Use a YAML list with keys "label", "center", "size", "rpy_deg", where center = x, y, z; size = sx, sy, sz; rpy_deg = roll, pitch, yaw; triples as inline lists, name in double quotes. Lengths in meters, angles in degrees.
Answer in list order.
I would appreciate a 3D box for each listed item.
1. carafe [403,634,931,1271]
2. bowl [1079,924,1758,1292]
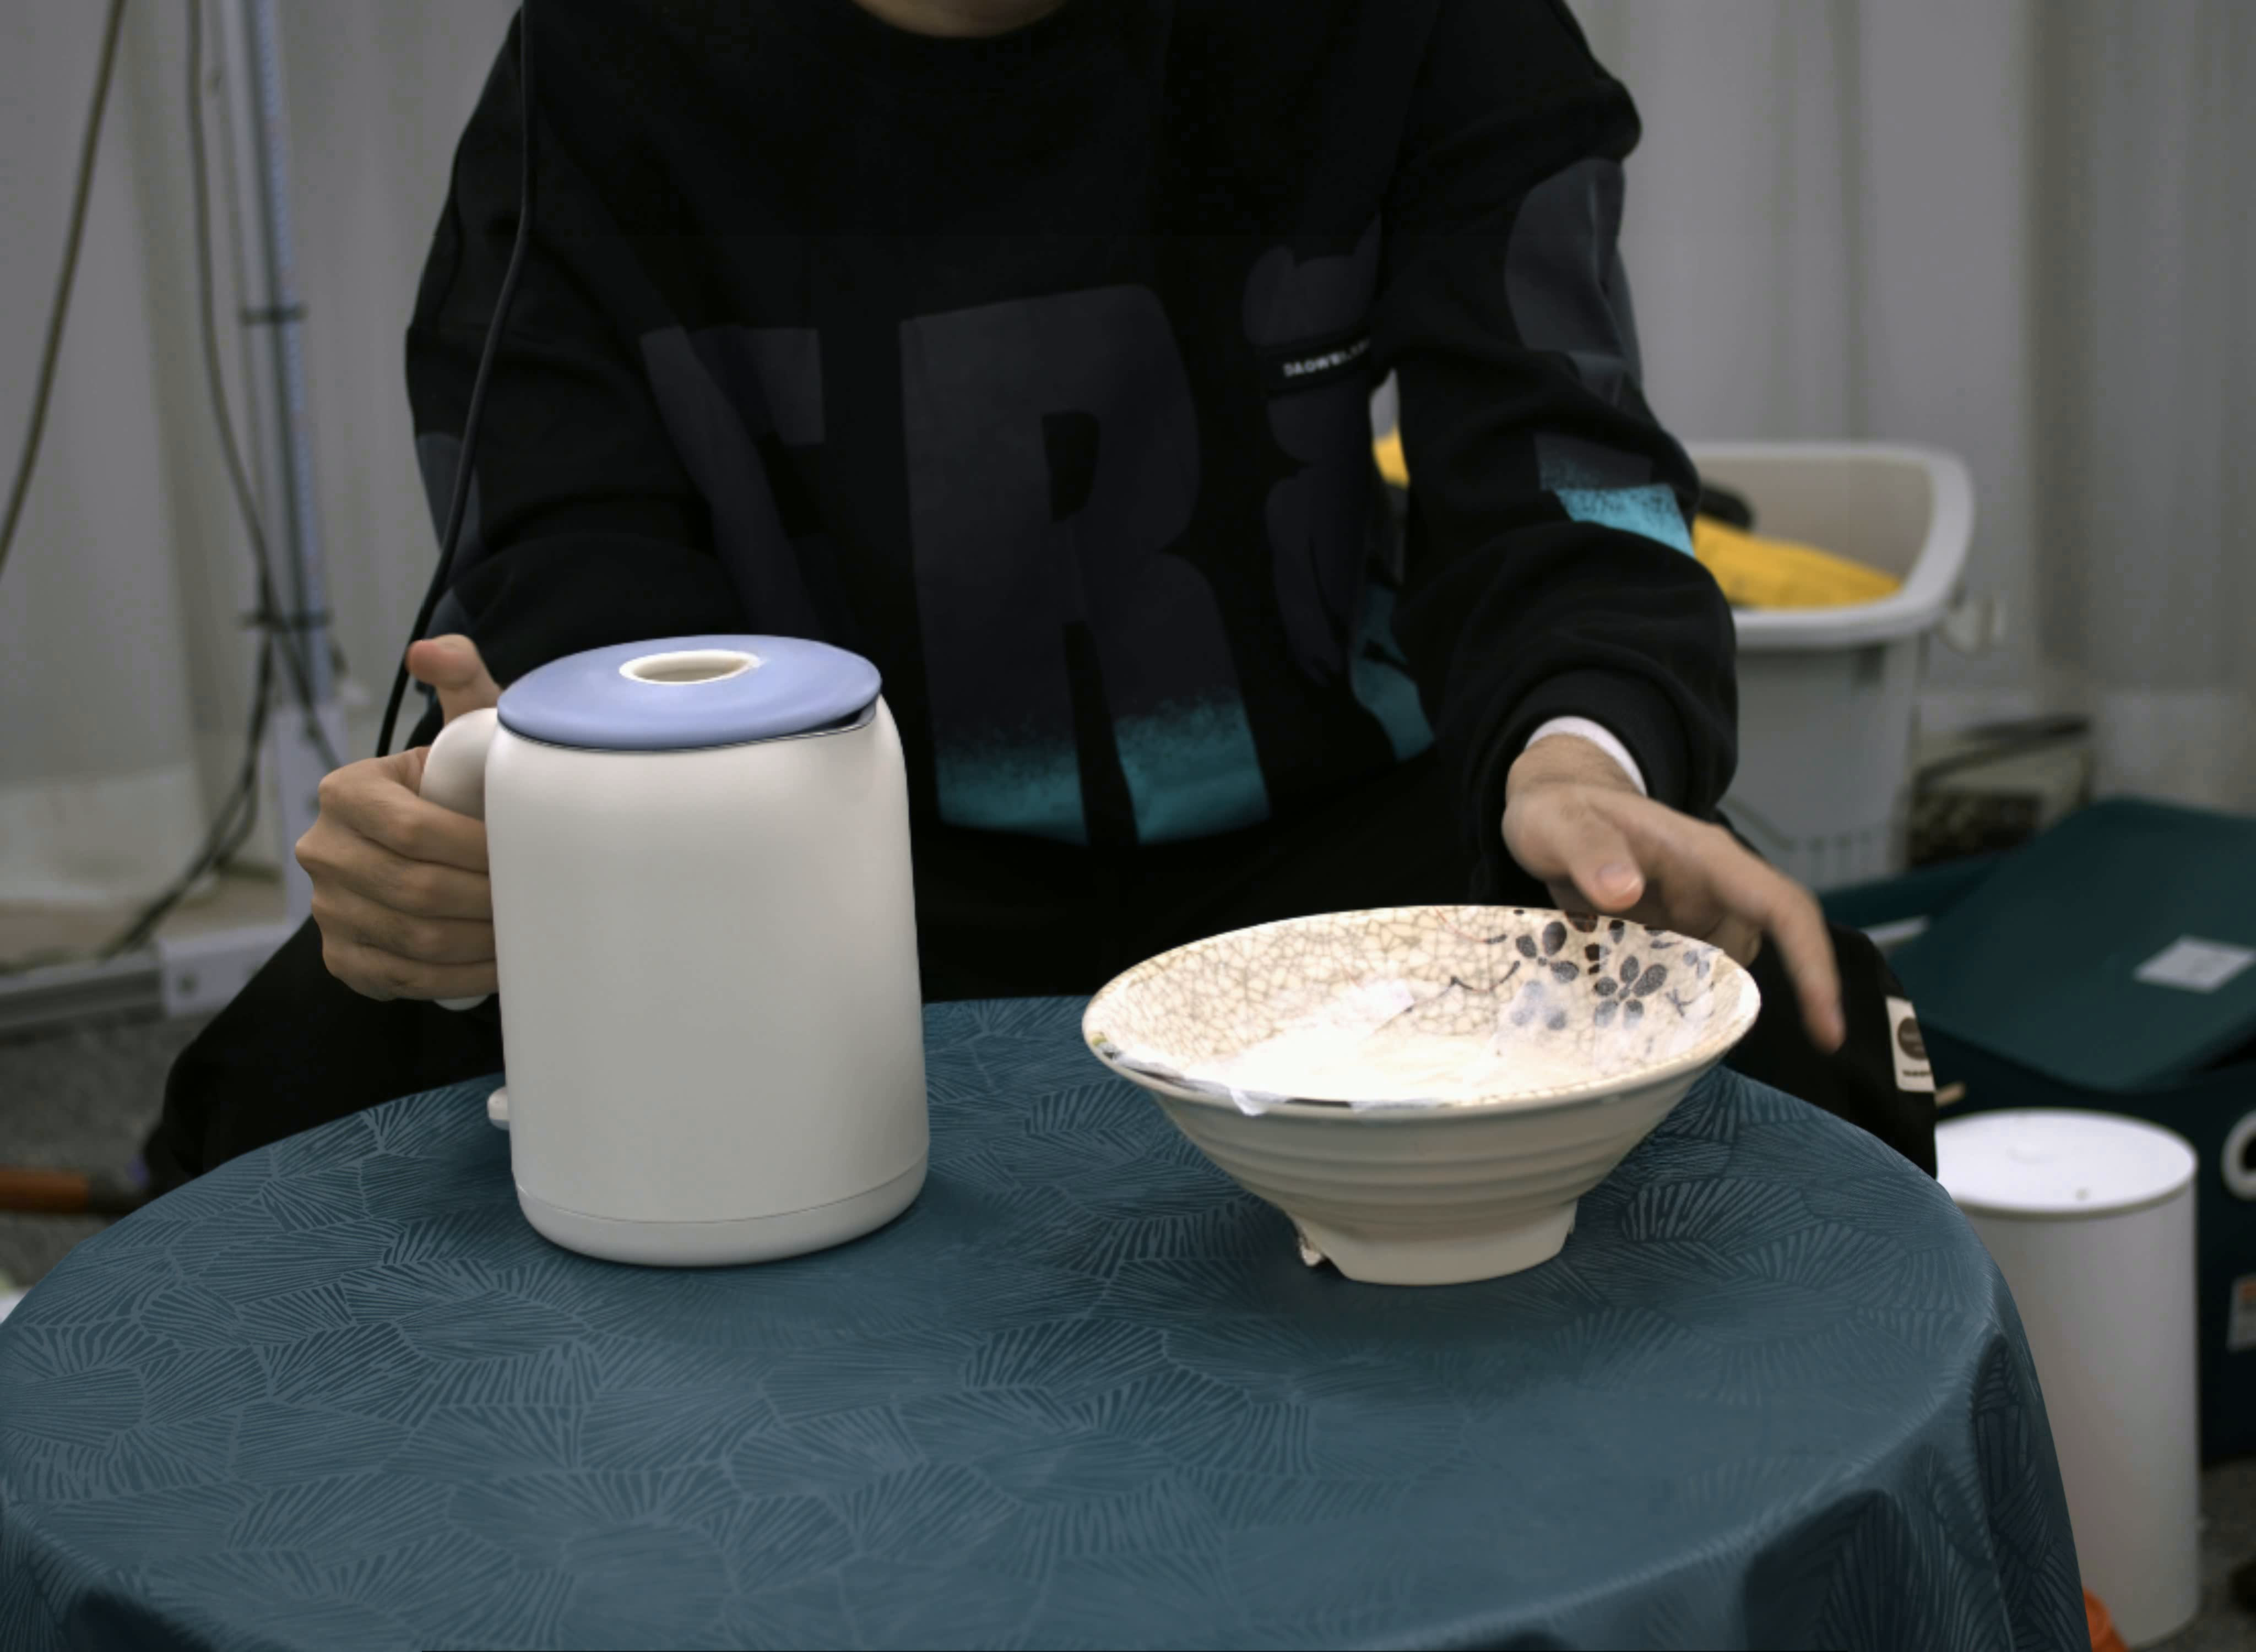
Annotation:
- label: "carafe"
  center: [-0.151, 0.036, 1.712]
  size: [0.191, 0.182, 0.132]
  rpy_deg: [4, 14, 35]
- label: "bowl"
  center: [0.088, 0.090, 1.644]
  size: [0.203, 0.078, 0.205]
  rpy_deg: [-2, 12, 0]
